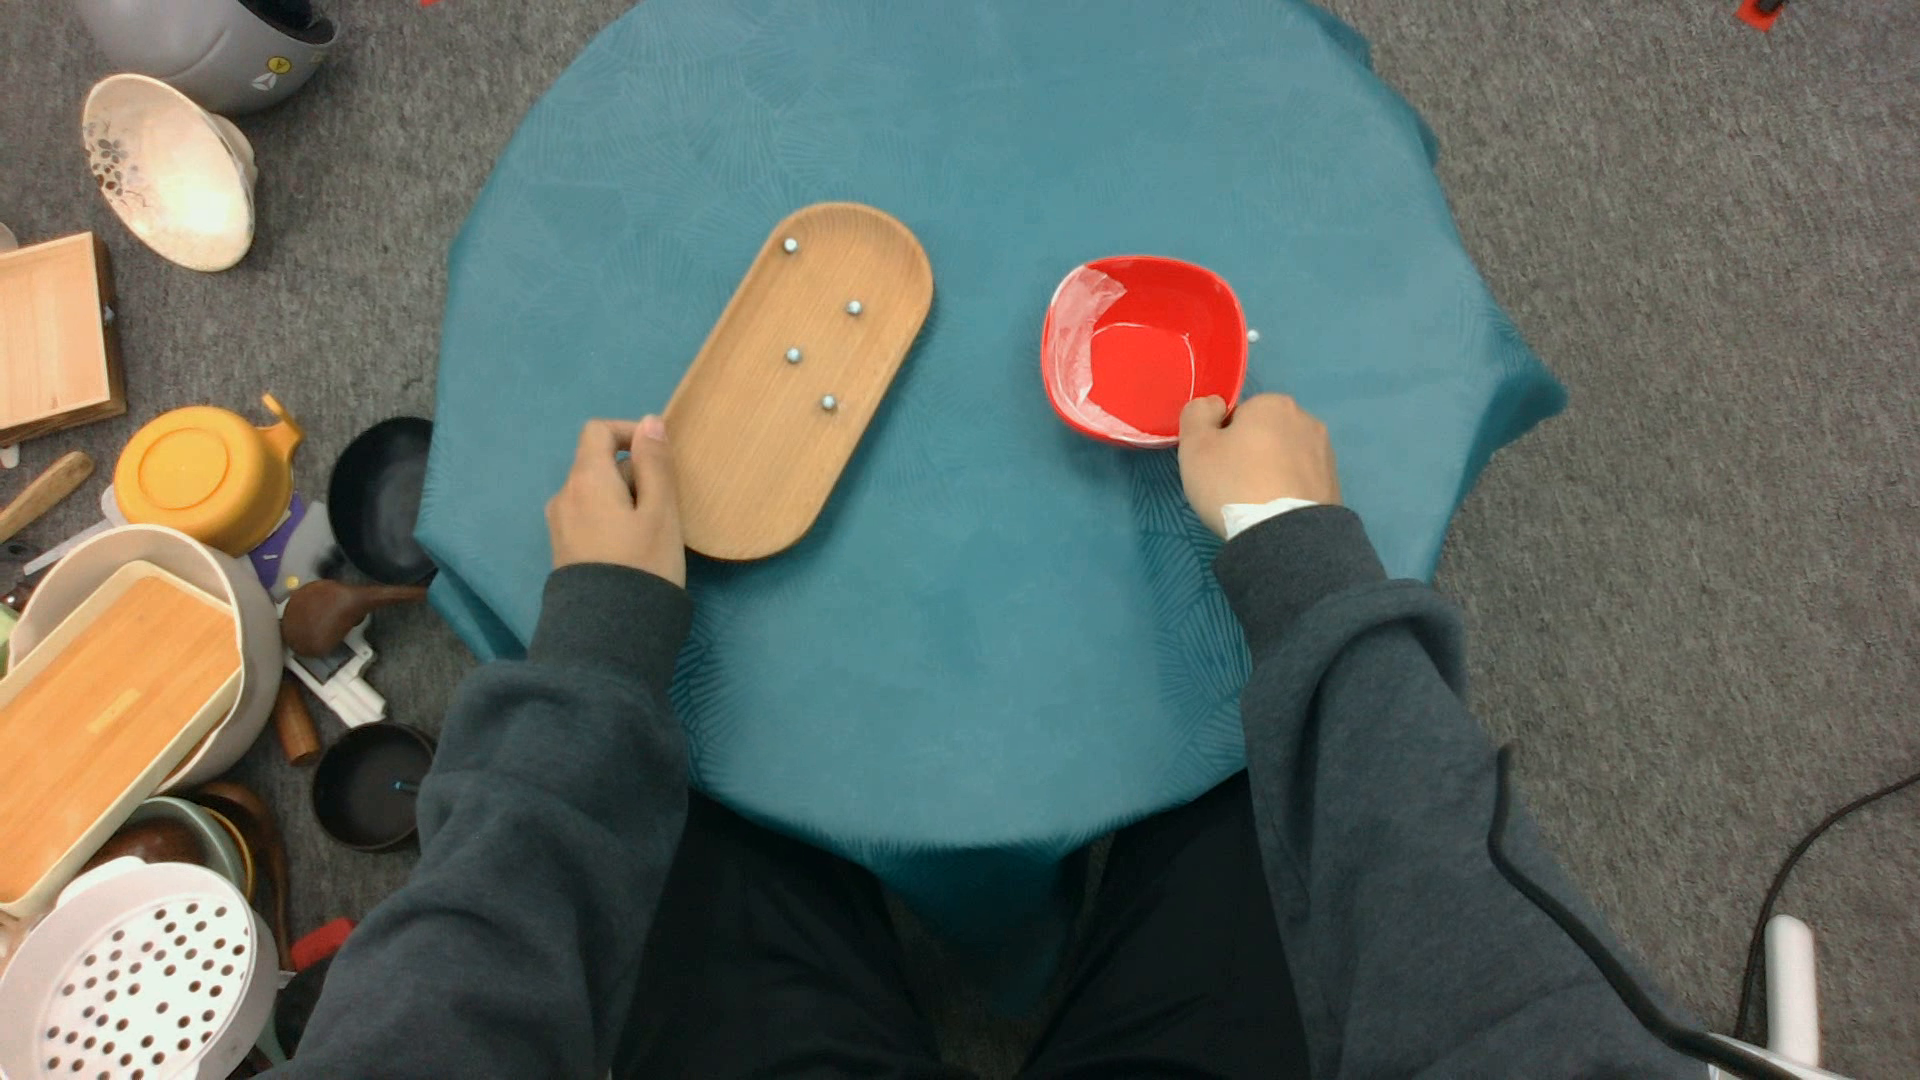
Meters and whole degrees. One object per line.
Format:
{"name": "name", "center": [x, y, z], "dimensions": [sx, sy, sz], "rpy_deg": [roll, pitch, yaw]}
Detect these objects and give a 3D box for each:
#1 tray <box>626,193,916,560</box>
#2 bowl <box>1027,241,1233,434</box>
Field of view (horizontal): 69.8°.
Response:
{"name": "tray", "center": [-0.102, -0.094, 0.767], "dimensions": [0.101, 0.020, 0.232], "rpy_deg": [25, 73, -2]}
{"name": "bowl", "center": [0.091, -0.104, 0.758], "dimensions": [0.119, 0.051, 0.119], "rpy_deg": [0, 72, 0]}
